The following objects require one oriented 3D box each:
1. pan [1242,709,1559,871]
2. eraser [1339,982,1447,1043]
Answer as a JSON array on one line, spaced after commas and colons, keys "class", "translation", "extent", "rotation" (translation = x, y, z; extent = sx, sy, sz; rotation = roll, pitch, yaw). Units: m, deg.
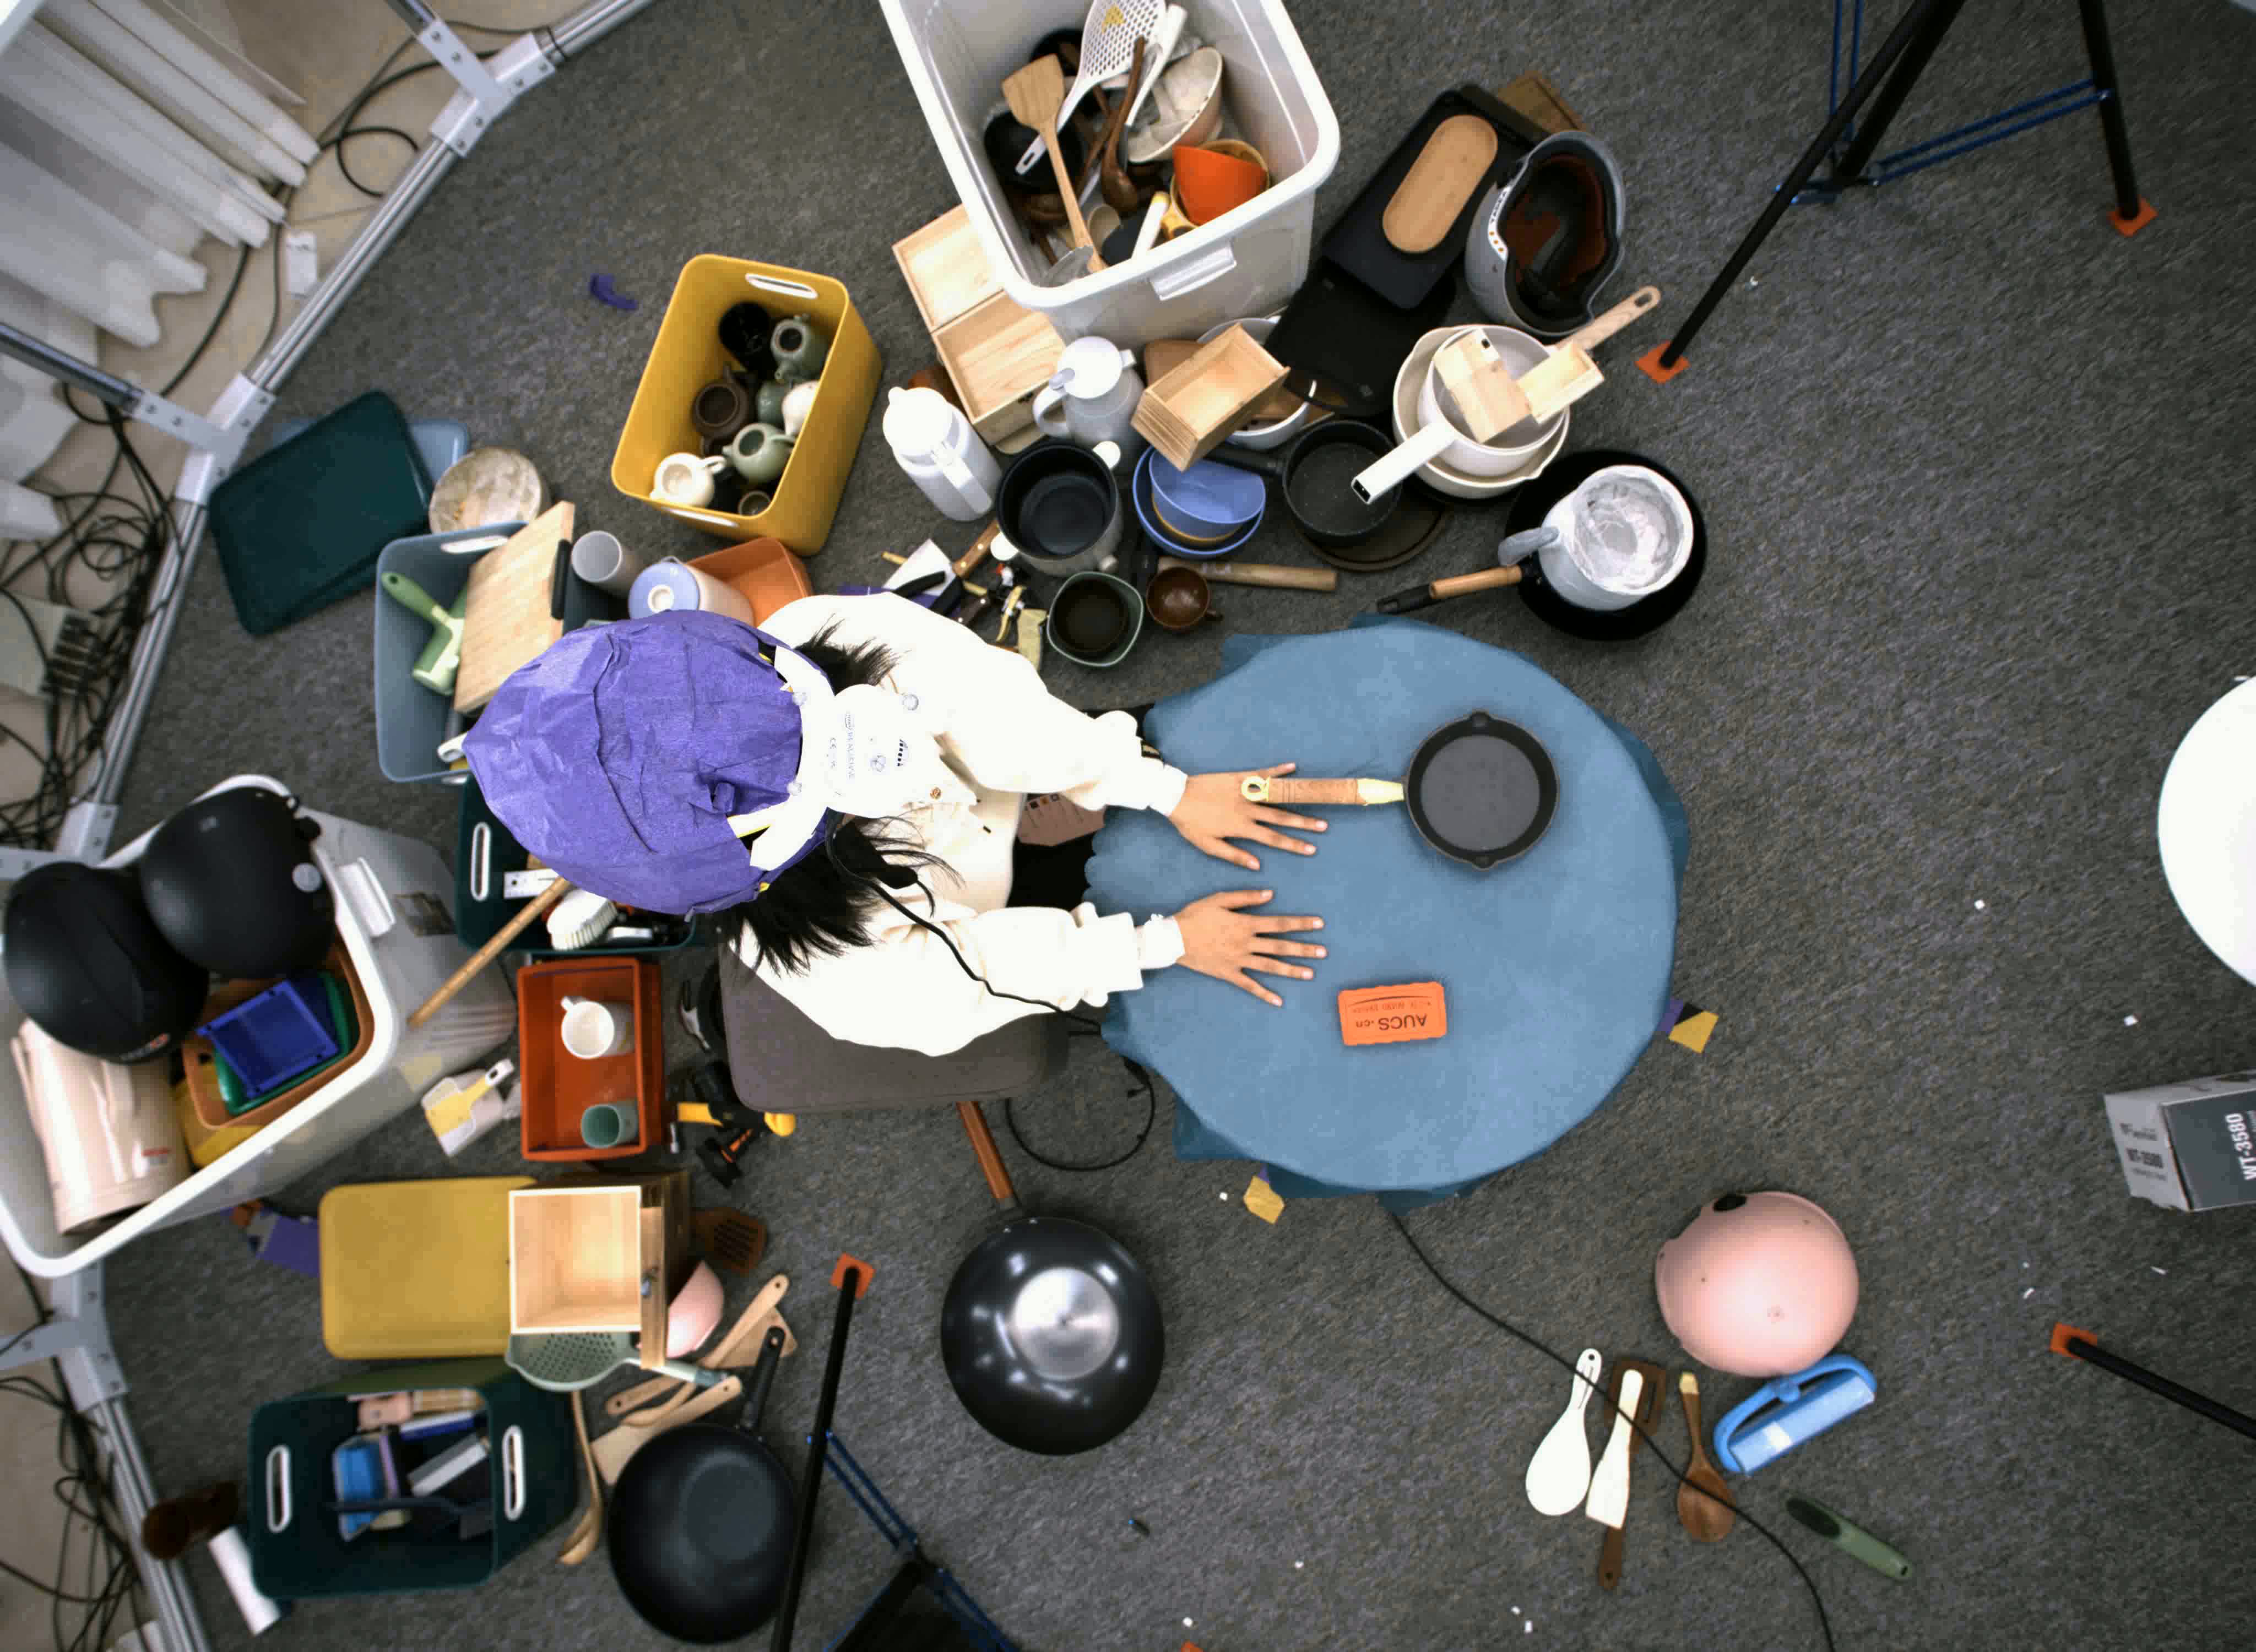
[{"class": "pan", "translation": [0.282, -0.039, 1.438], "extent": [0.325, 0.049, 0.168], "rotation": [1, 87, 9]}, {"class": "eraser", "translation": [0.275, 0.193, 1.440], "extent": [0.108, 0.023, 0.058], "rotation": [-6, 86, 10]}]
